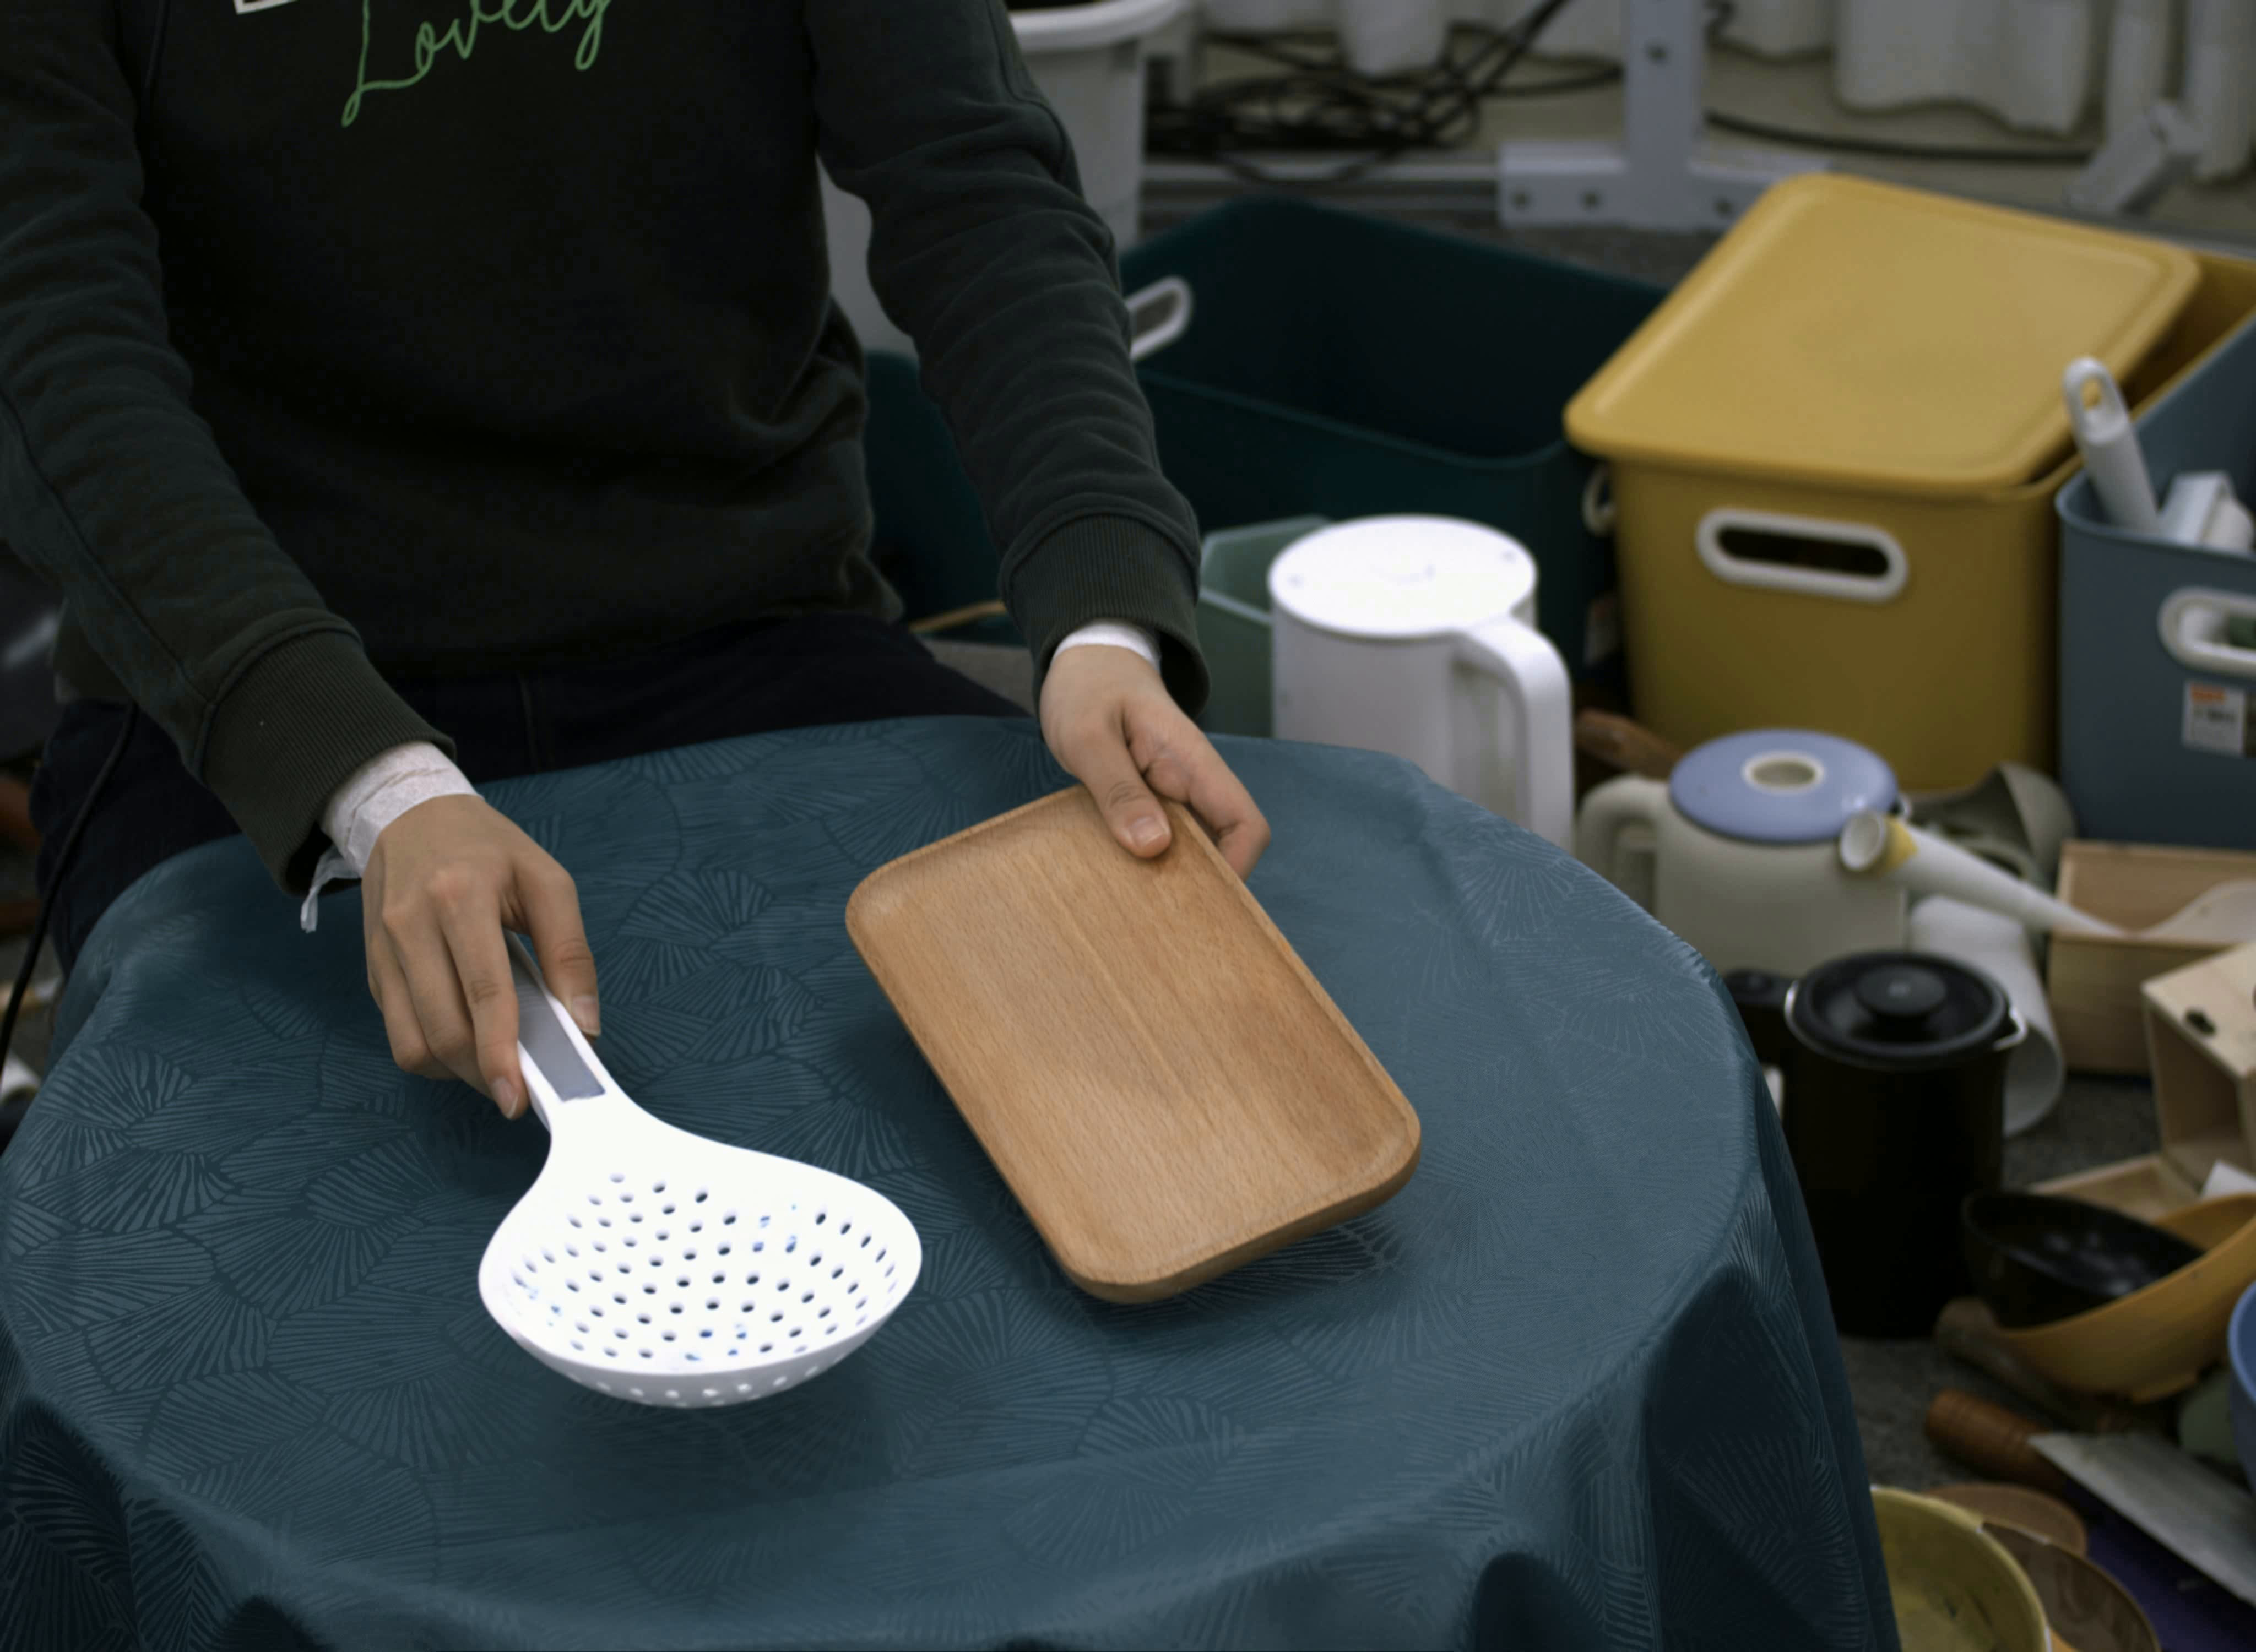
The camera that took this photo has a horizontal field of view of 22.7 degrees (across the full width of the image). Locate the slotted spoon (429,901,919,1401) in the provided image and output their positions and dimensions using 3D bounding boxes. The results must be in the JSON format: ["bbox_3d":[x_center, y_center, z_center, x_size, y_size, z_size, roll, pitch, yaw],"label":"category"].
[{"bbox_3d":[-0.171,0.099,1.823,0.136,0.045,0.353,-9,29,-20],"label":"slotted spoon"}]

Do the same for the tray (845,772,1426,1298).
[{"bbox_3d":[-0.001,0.067,1.882,0.131,0.022,0.253,-20,37,-13],"label":"tray"}]
